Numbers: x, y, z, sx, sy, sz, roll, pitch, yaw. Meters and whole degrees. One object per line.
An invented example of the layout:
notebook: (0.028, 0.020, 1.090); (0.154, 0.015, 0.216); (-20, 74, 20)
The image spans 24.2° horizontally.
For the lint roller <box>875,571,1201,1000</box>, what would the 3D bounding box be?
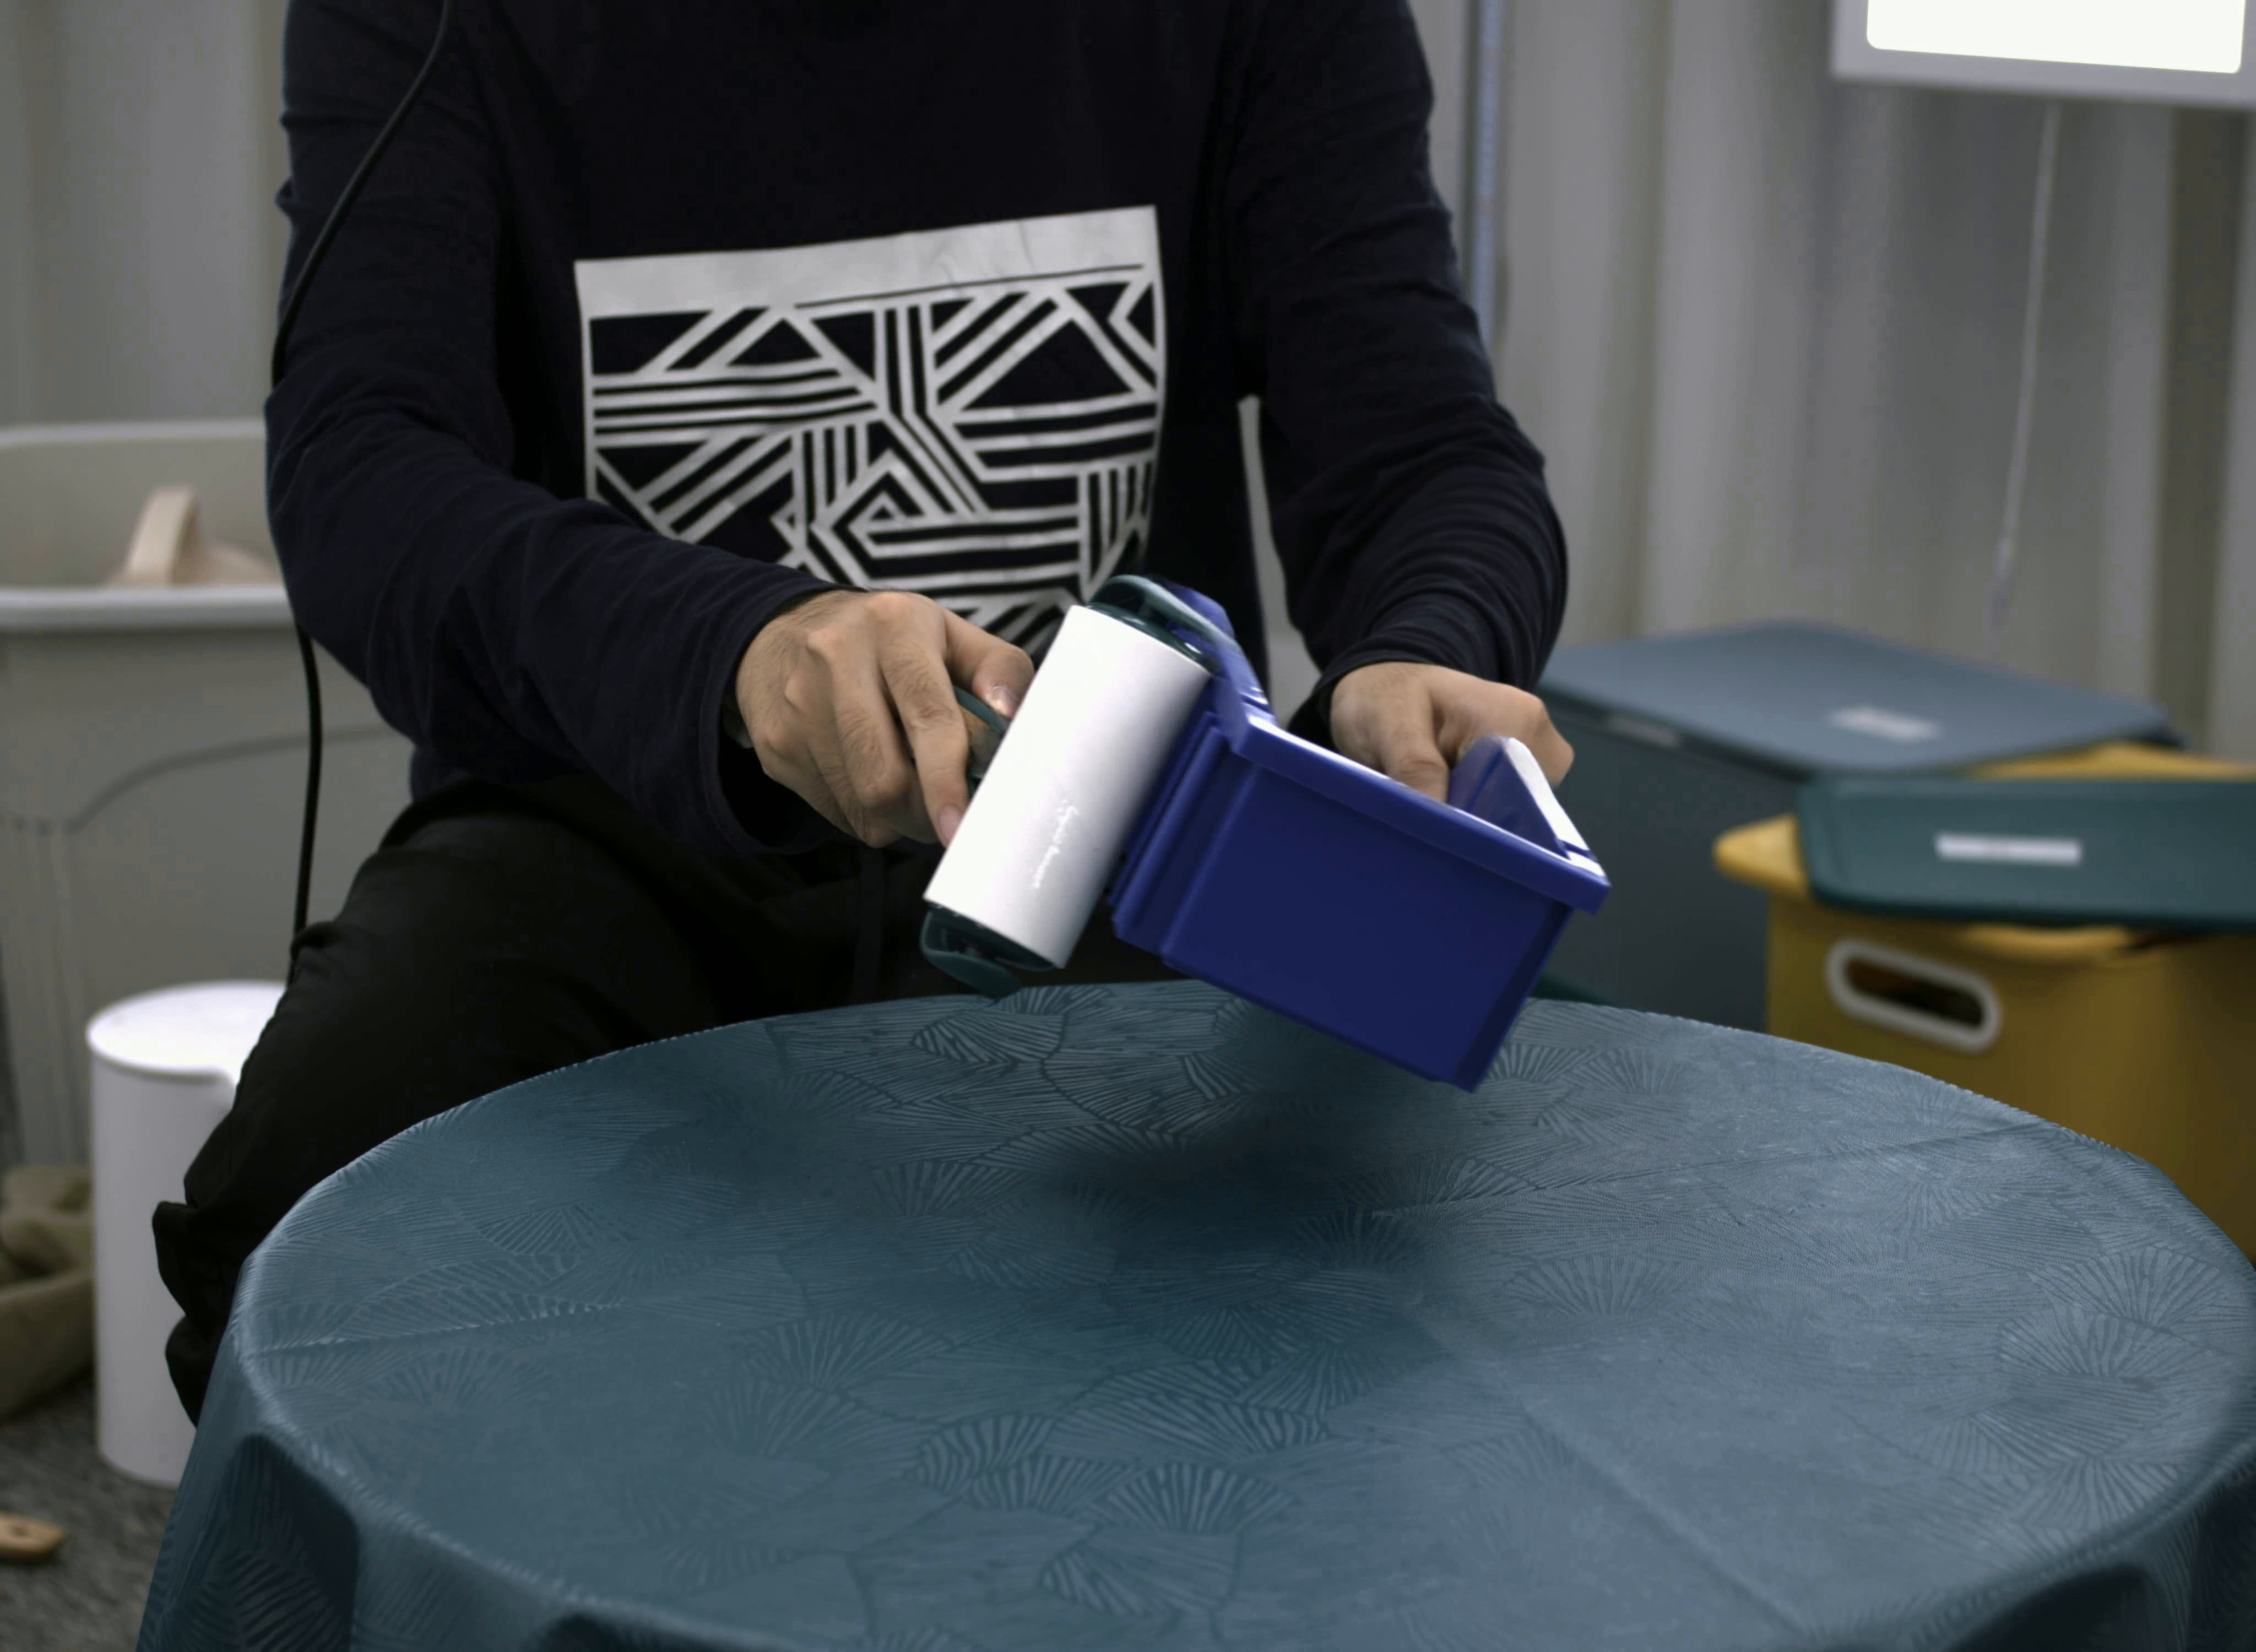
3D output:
lint roller: (-0.051, -0.023, 1.625); (0.049, 0.134, 0.178); (29, -5, -30)

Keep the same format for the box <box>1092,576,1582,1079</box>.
box: (0.056, -0.004, 1.619); (0.125, 0.082, 0.178); (24, 16, -12)
